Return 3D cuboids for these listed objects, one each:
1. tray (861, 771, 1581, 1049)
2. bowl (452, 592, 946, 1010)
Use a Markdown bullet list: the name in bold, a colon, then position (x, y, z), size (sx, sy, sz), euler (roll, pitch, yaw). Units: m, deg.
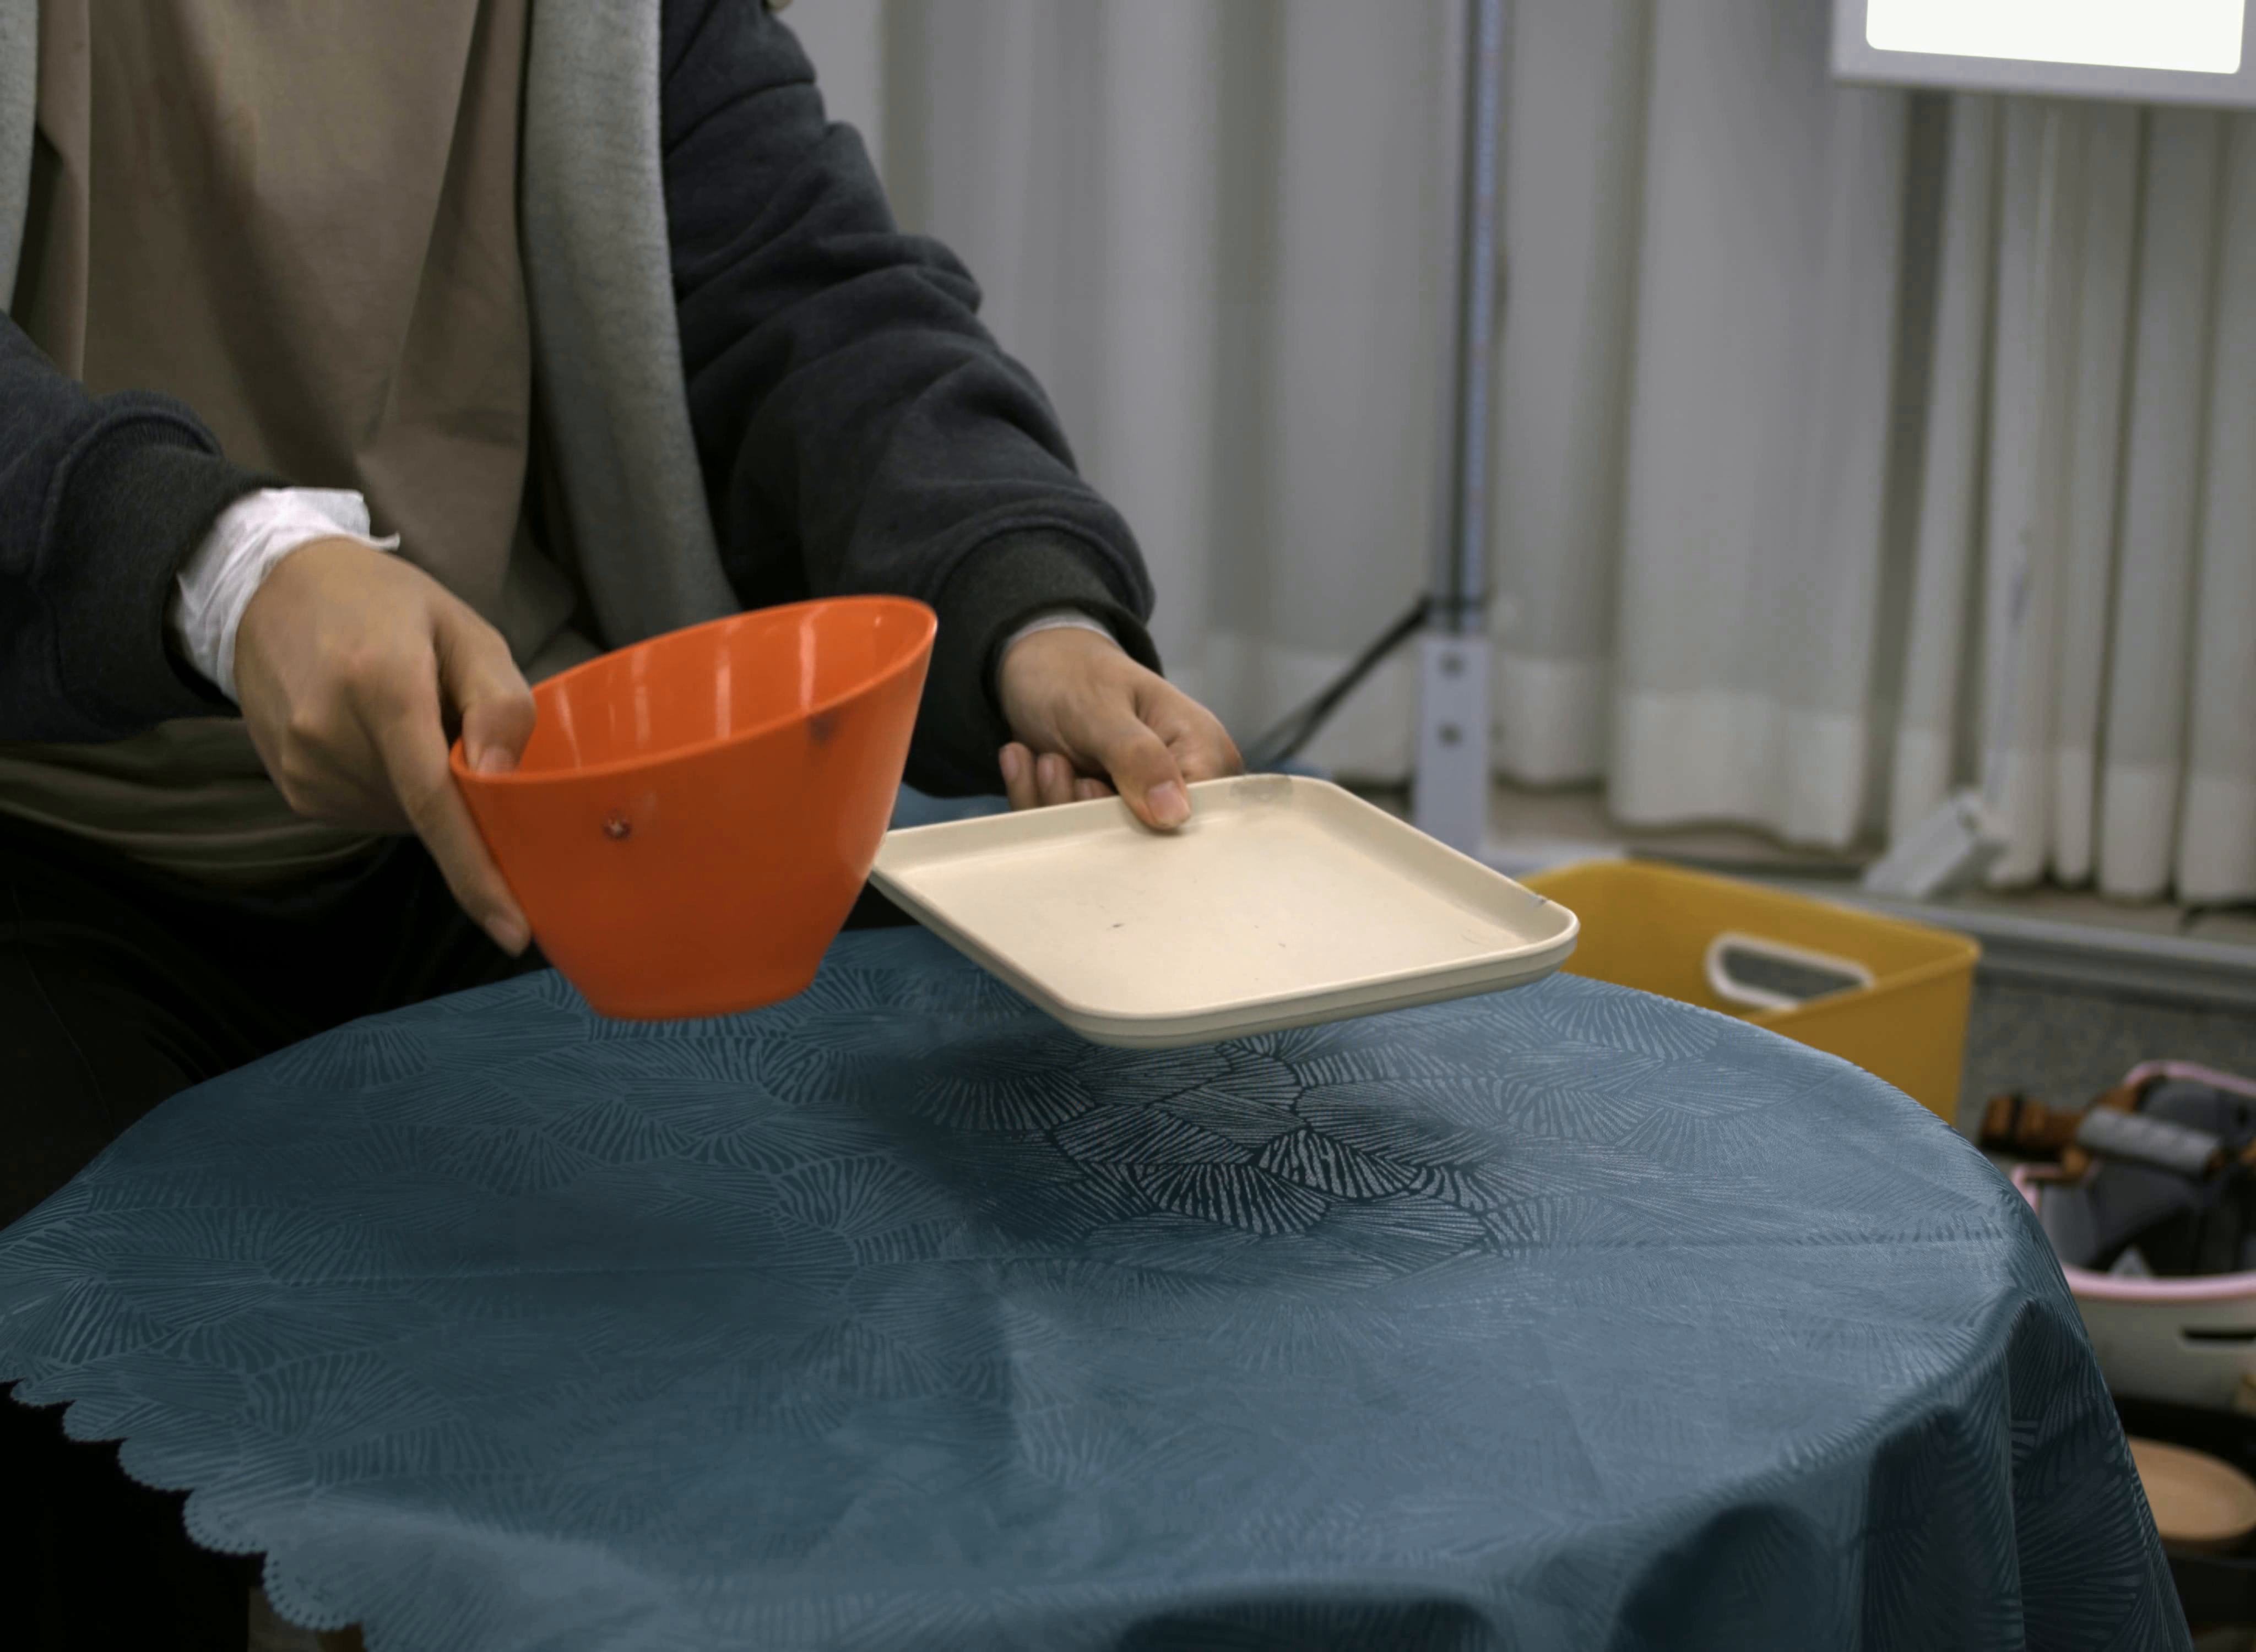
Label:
- **tray**: position (0.026, 0.025, 1.675), size (0.171, 0.017, 0.237), euler (-10, 17, -21)
- **bowl**: position (-0.121, -0.005, 1.548), size (0.147, 0.105, 0.147), euler (-5, 11, 2)
